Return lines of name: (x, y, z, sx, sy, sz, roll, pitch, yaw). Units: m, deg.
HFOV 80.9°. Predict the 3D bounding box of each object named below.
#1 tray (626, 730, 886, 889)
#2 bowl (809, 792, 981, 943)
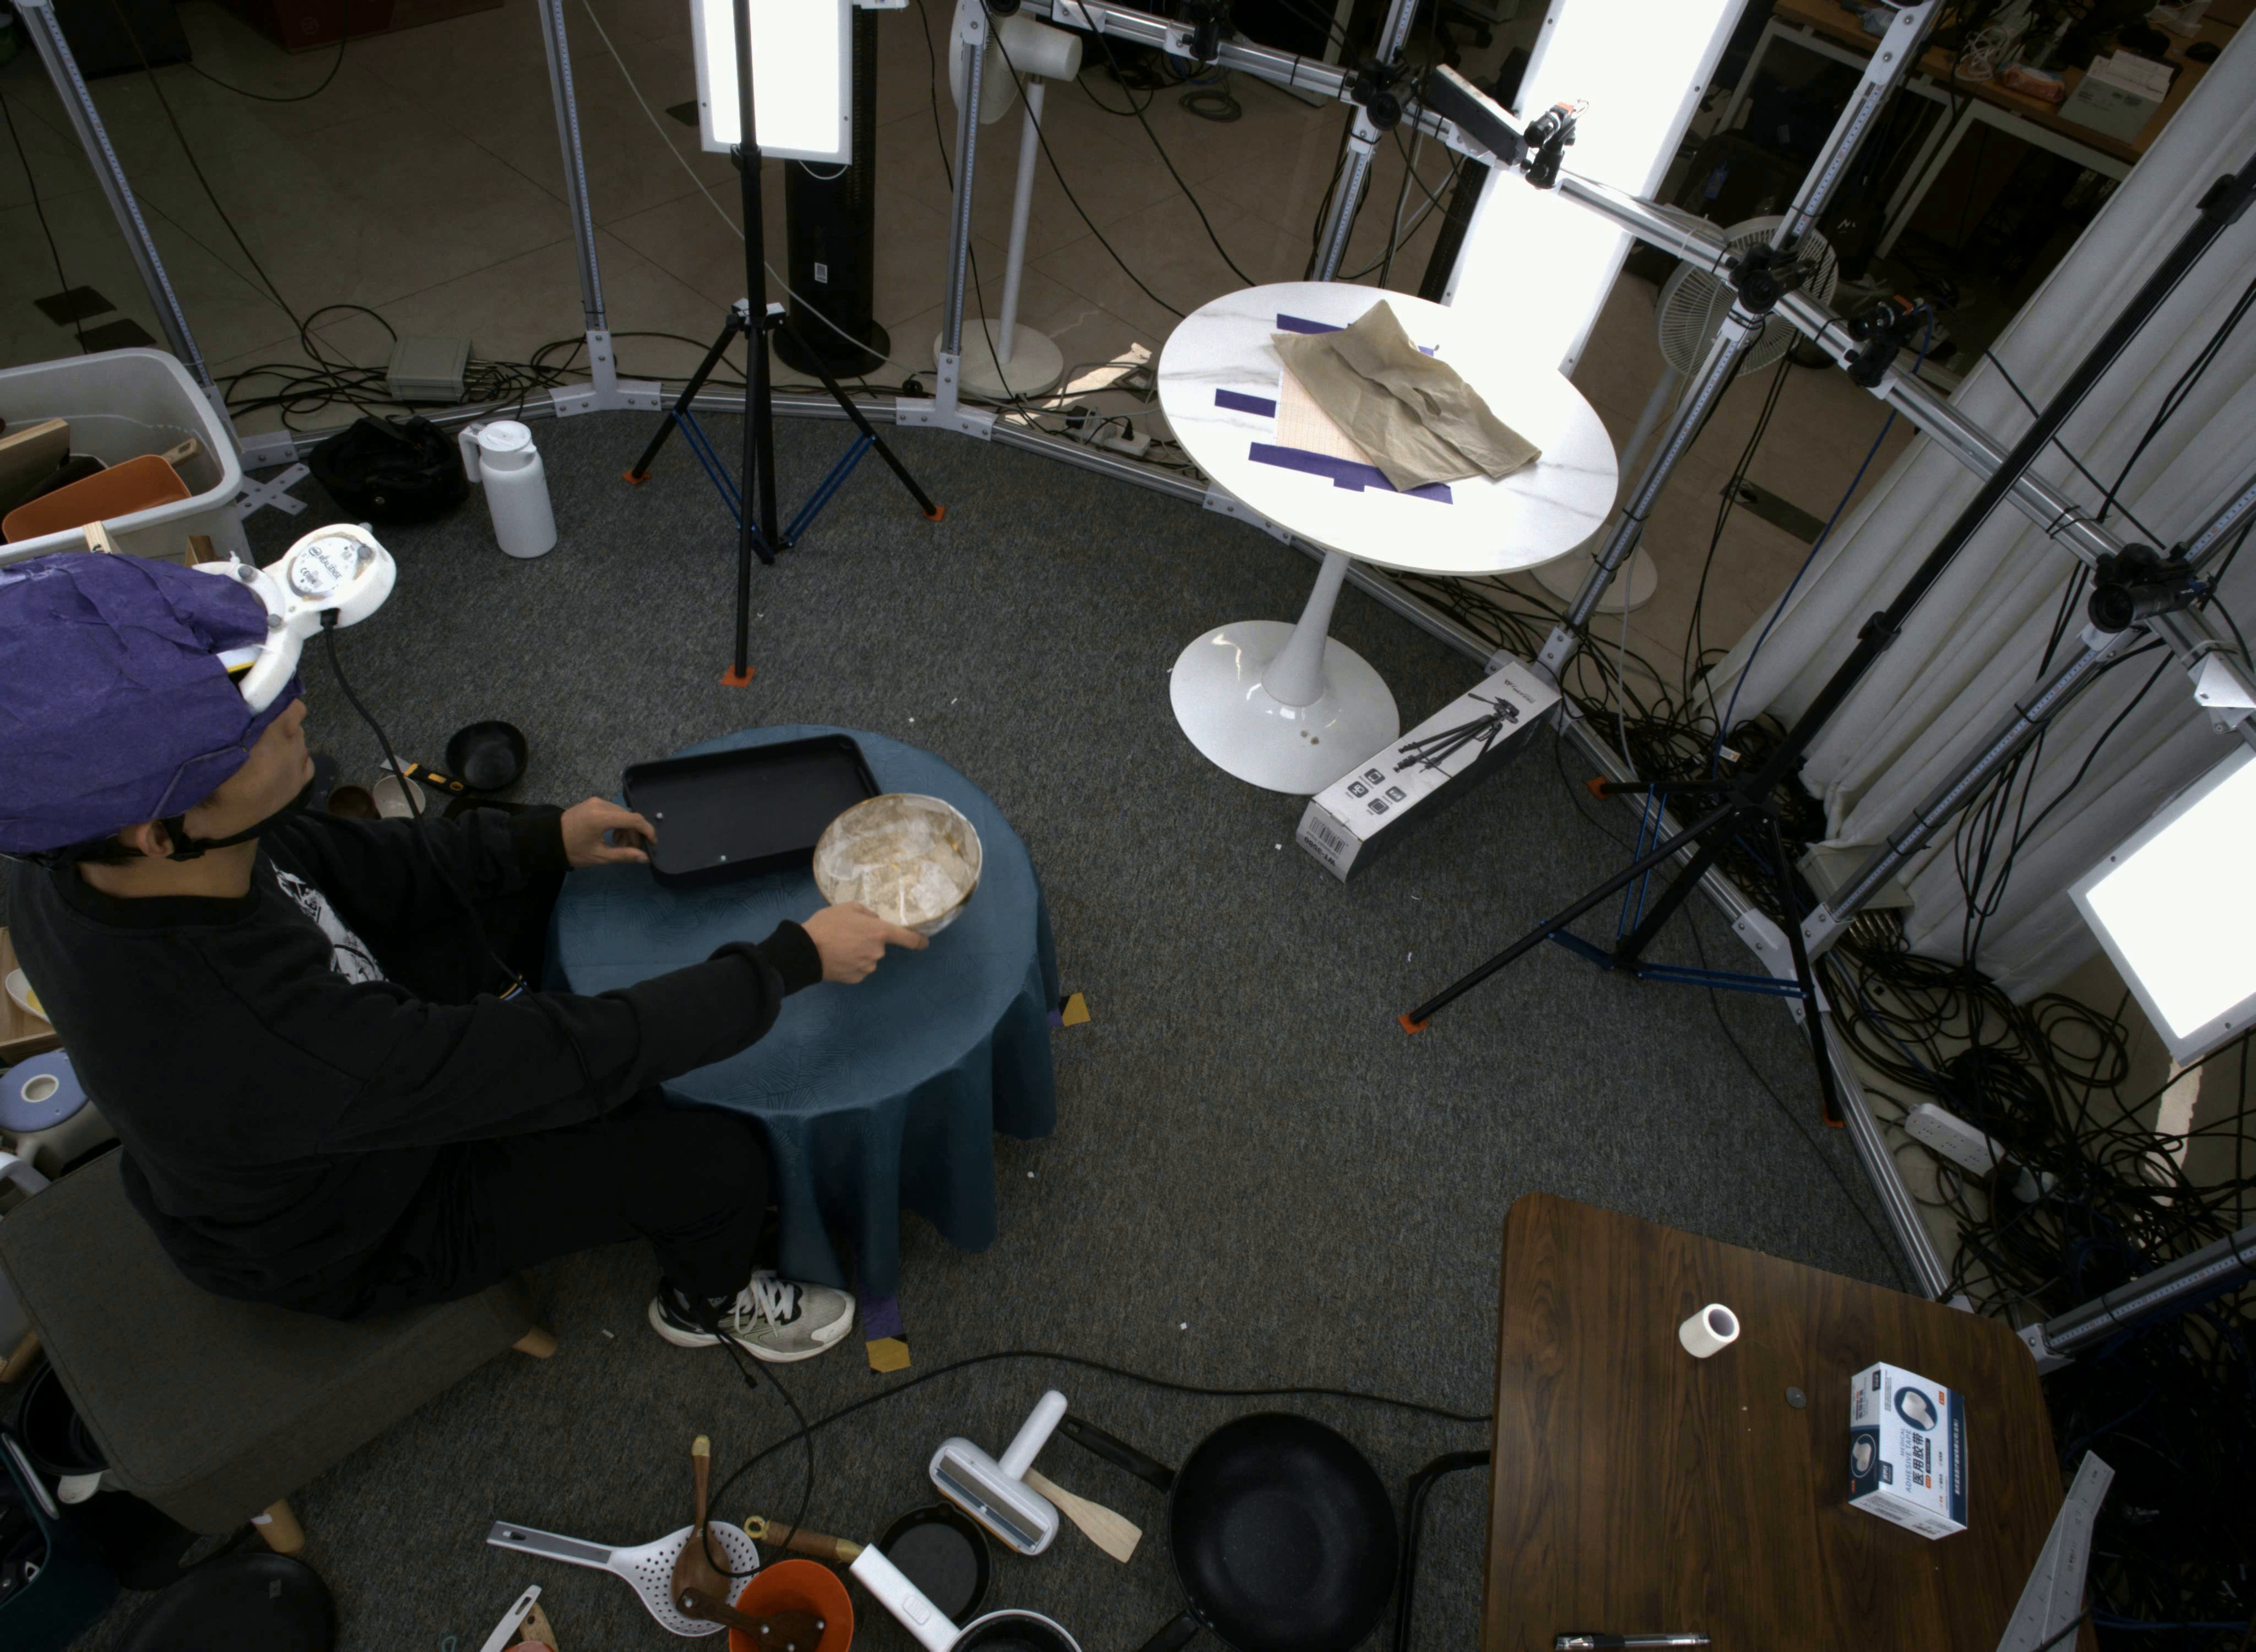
tray: (-0.476, -0.028, 1.680, 0.321, 0.037, 0.180, -12, 59, -32)
bowl: (-0.285, 0.065, 1.600, 0.213, 0.097, 0.211, 5, 54, -5)
